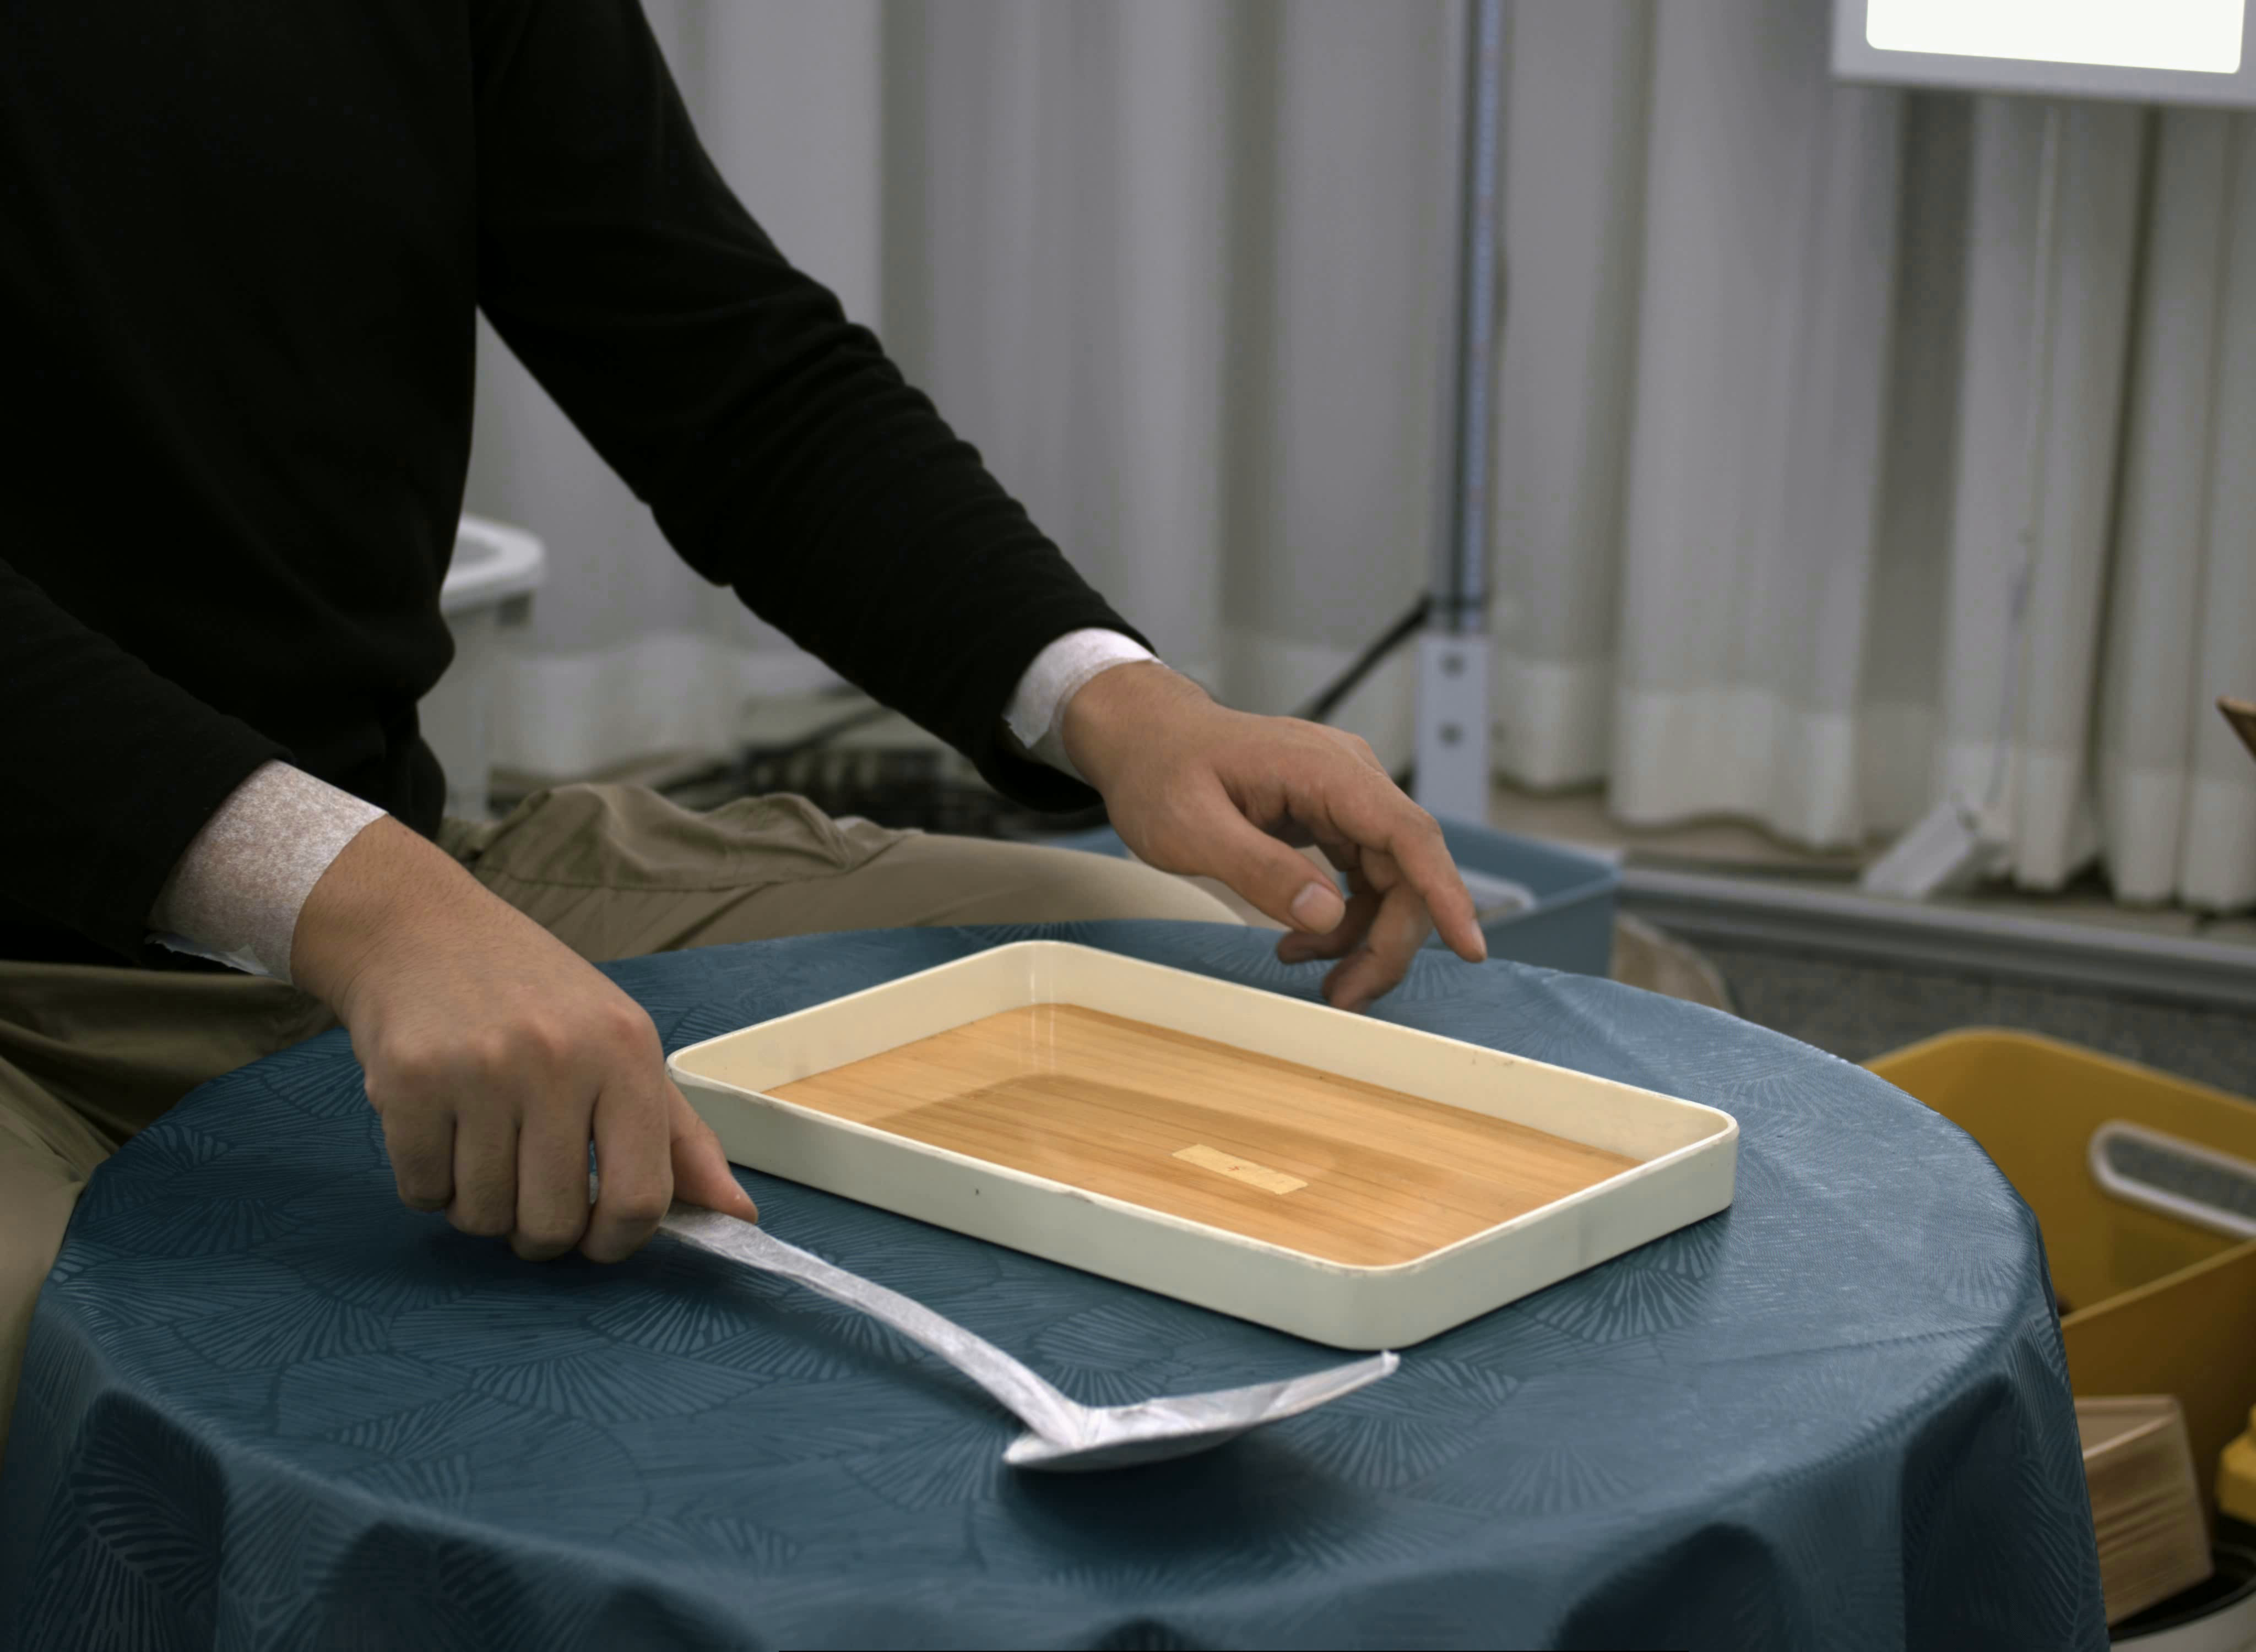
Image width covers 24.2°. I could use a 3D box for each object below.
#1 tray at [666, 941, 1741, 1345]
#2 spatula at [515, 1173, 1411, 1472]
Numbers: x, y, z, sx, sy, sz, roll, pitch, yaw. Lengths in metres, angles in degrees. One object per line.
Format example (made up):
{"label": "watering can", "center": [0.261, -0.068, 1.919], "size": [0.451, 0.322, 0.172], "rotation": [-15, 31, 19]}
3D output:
{"label": "tray", "center": [0.021, 0.094, 1.637], "size": [0.296, 0.027, 0.192], "rotation": [13, 20, 39]}
{"label": "spatula", "center": [-0.071, 0.129, 1.484], "size": [0.099, 0.045, 0.360], "rotation": [-14, 21, -40]}
